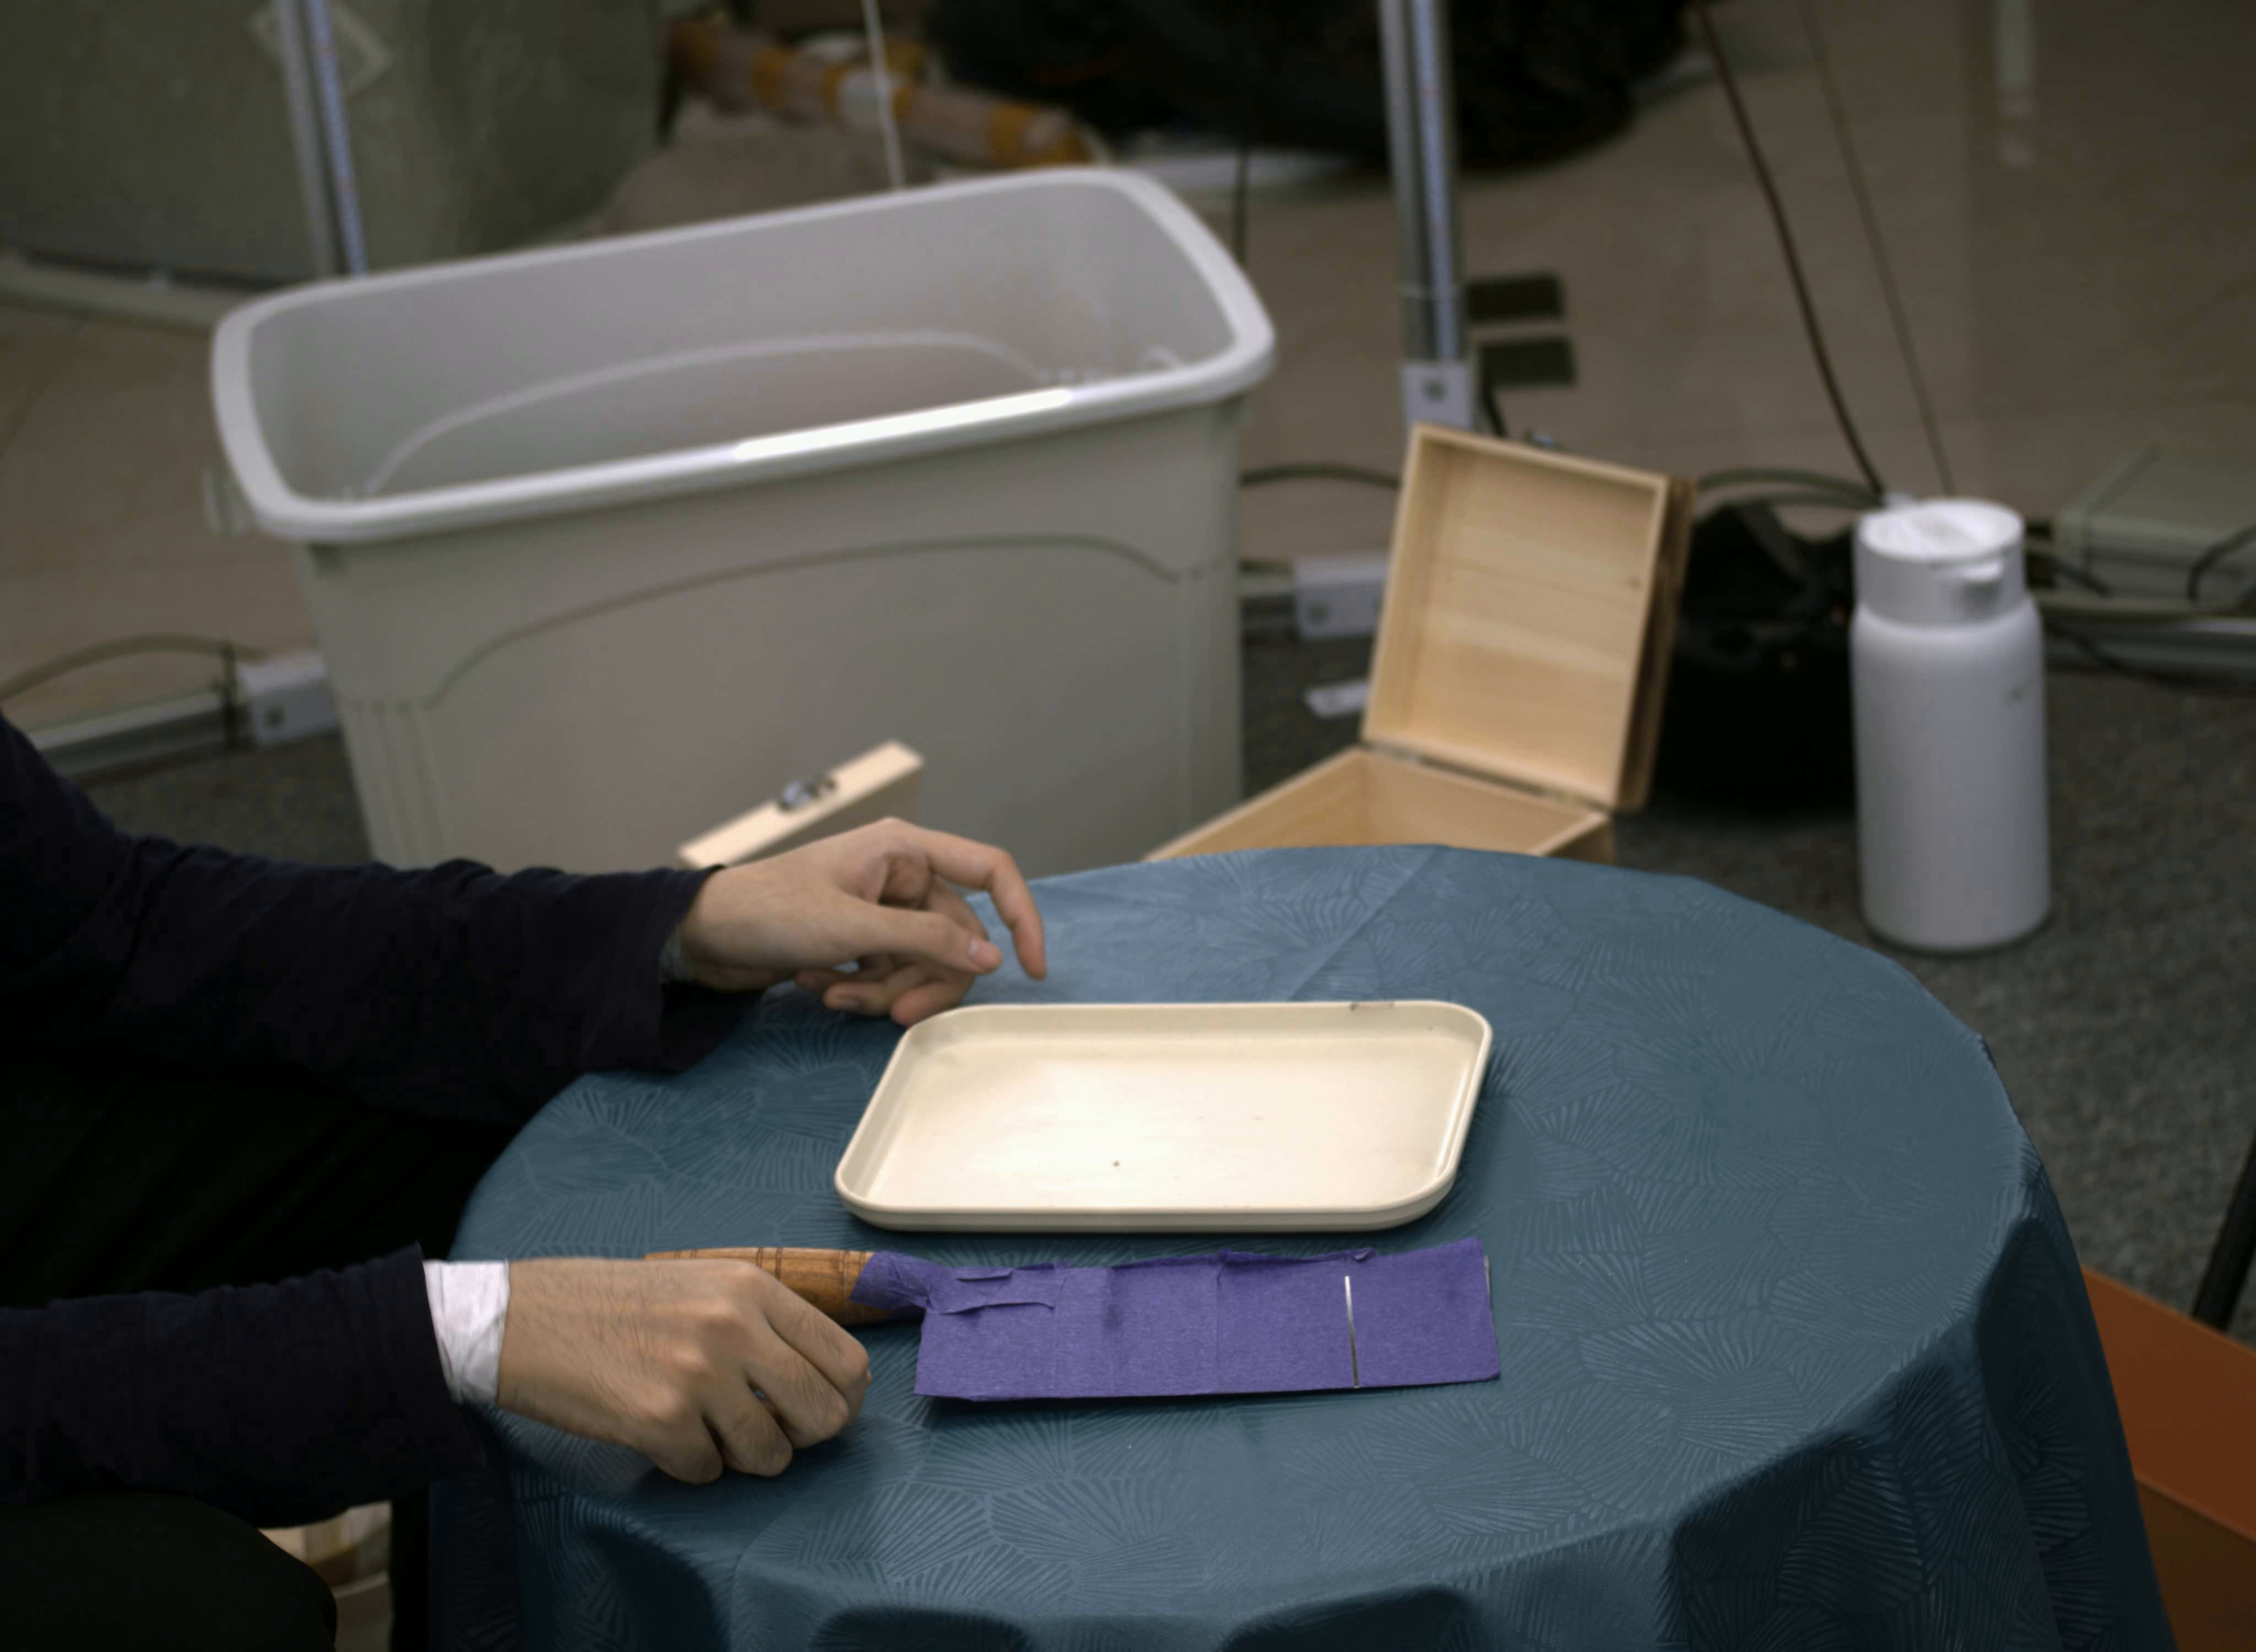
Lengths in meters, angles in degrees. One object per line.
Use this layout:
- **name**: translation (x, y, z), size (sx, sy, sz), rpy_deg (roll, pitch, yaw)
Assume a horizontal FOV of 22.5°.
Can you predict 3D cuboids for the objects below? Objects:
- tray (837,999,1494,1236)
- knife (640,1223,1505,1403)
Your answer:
- **tray**: translation (0.016, 0.113, 2.182), size (0.239, 0.018, 0.169), rpy_deg (-1, 26, 13)
- **knife**: translation (-0.023, 0.177, 2.044), size (0.315, 0.033, 0.102), rpy_deg (-5, 25, 3)
